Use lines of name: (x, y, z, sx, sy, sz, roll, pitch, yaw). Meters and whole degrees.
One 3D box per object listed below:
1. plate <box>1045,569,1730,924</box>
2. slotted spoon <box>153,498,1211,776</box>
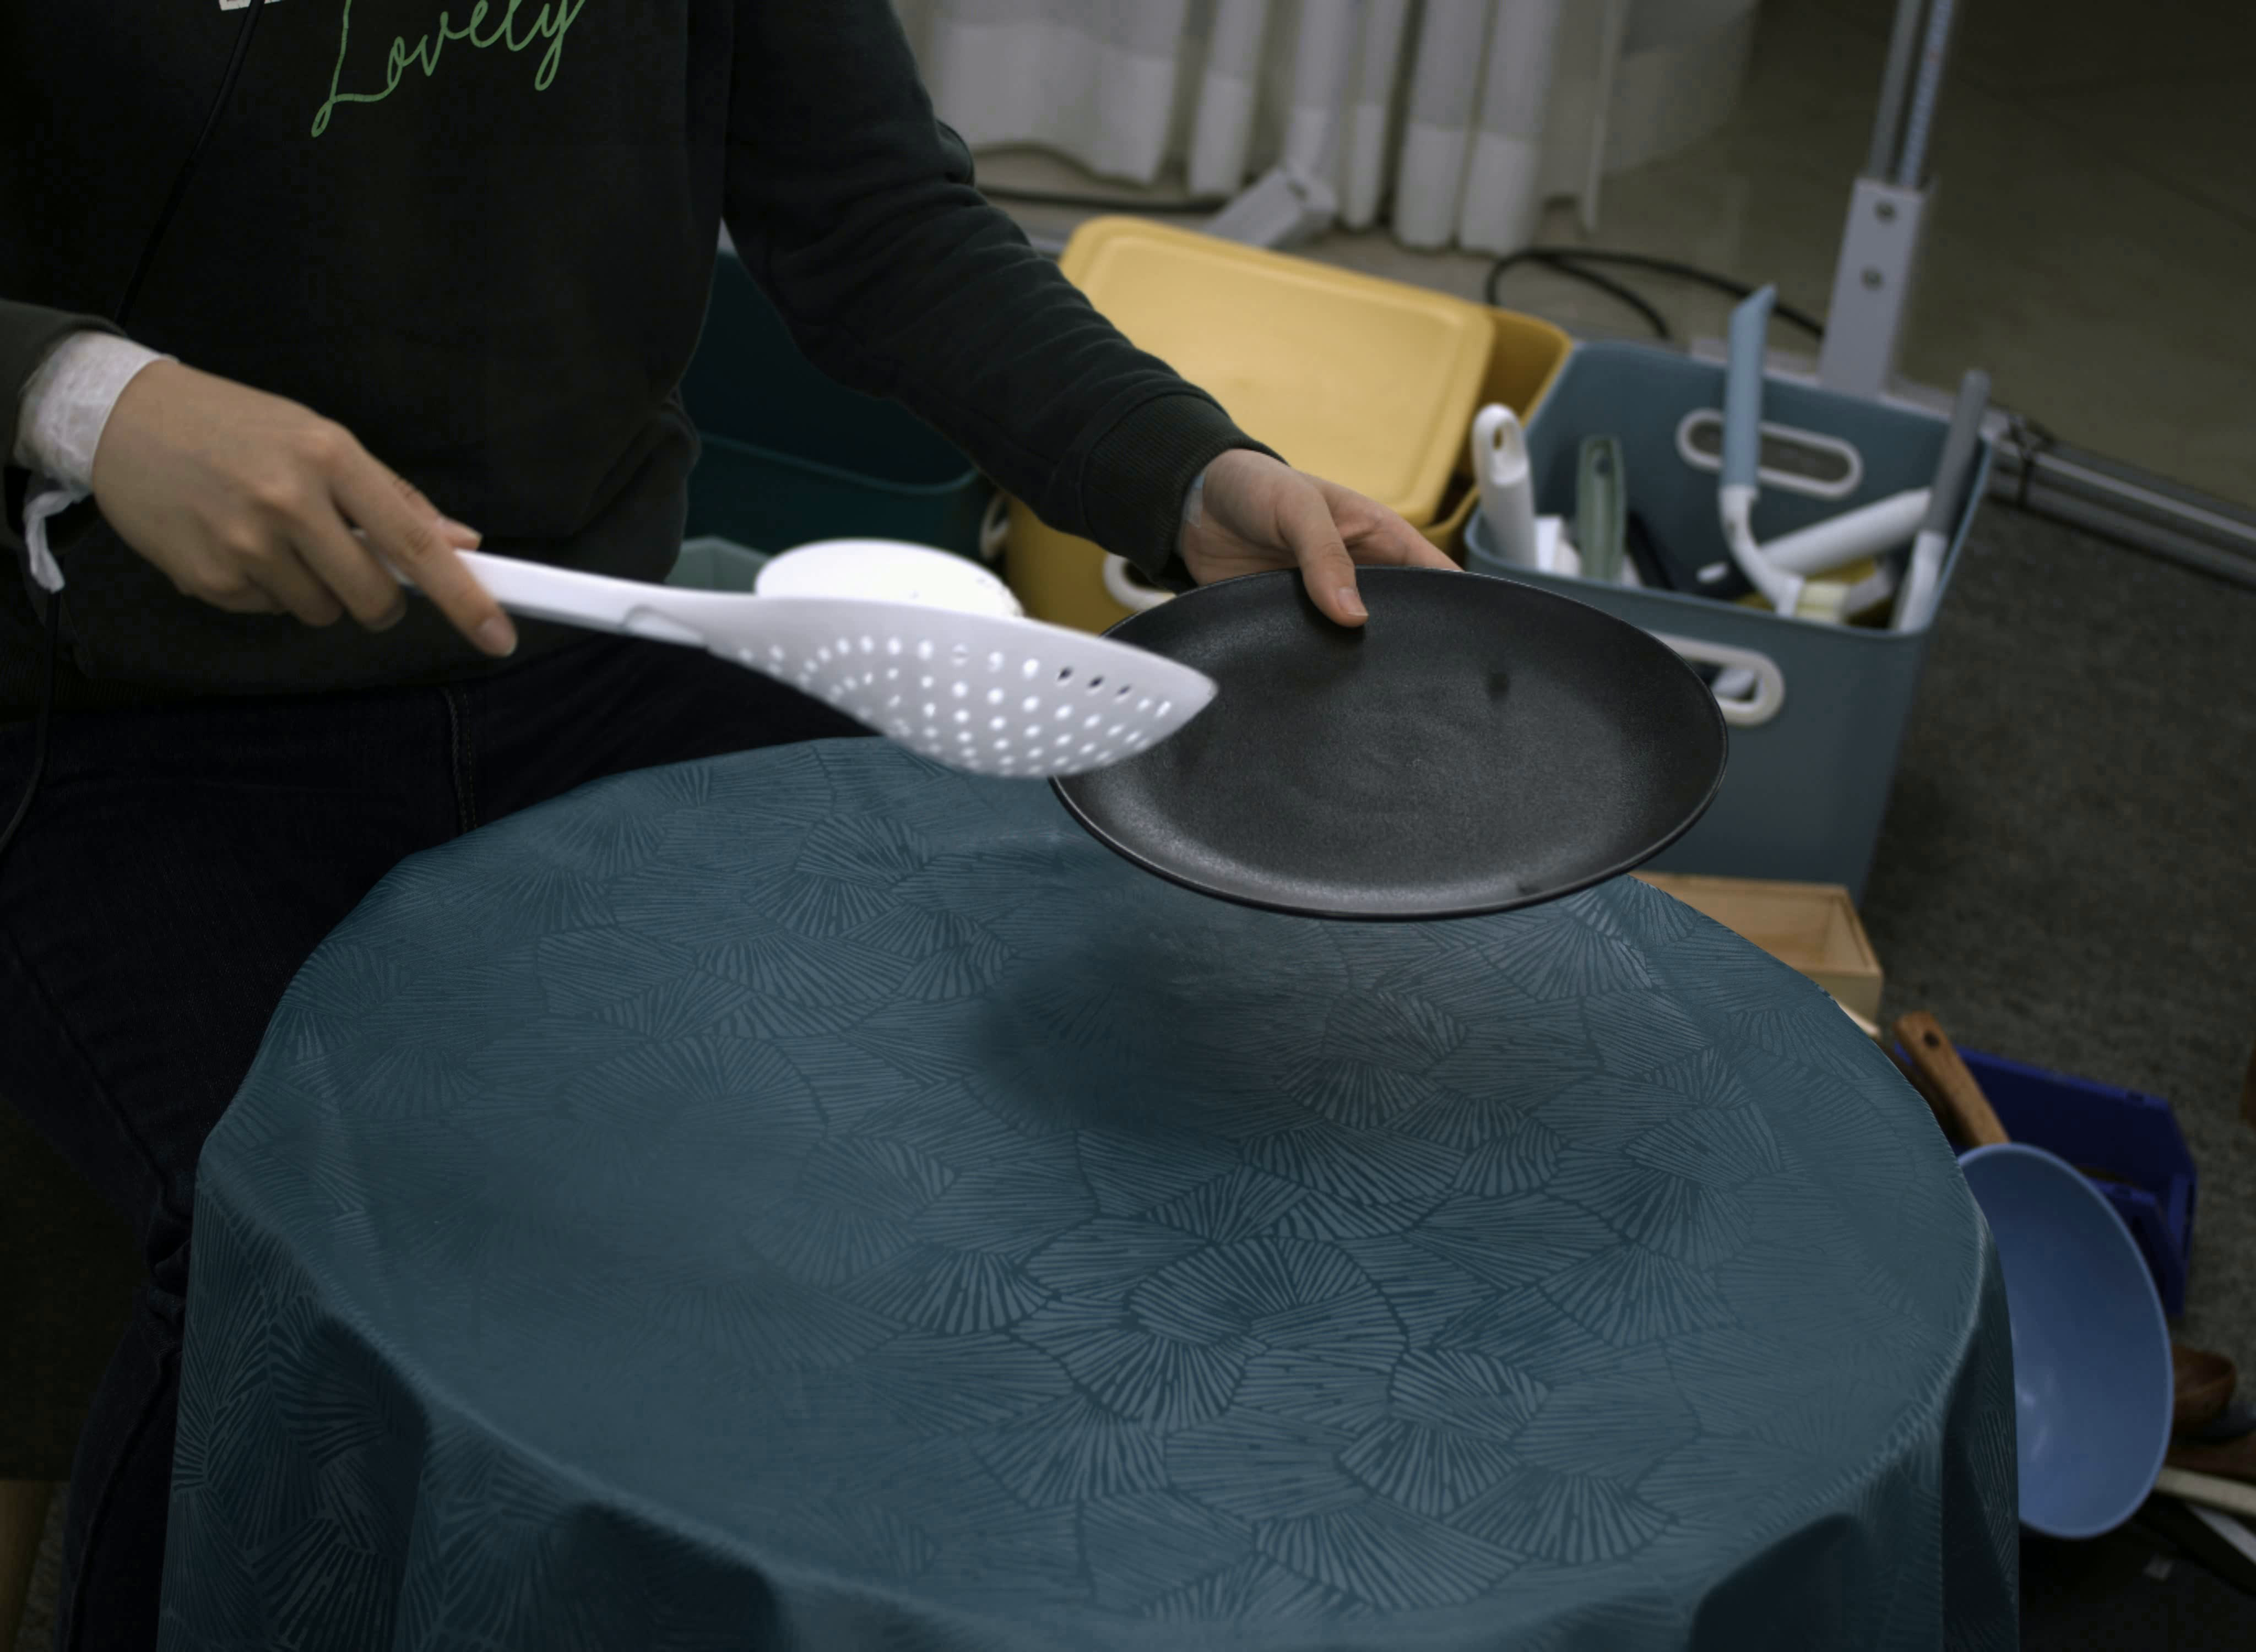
plate: (0.090, -0.025, 1.881, 0.244, 0.023, 0.246, -1, 31, 0)
slotted spoon: (-0.146, -0.068, 1.687, 0.350, 0.046, 0.135, 15, -8, 13)
